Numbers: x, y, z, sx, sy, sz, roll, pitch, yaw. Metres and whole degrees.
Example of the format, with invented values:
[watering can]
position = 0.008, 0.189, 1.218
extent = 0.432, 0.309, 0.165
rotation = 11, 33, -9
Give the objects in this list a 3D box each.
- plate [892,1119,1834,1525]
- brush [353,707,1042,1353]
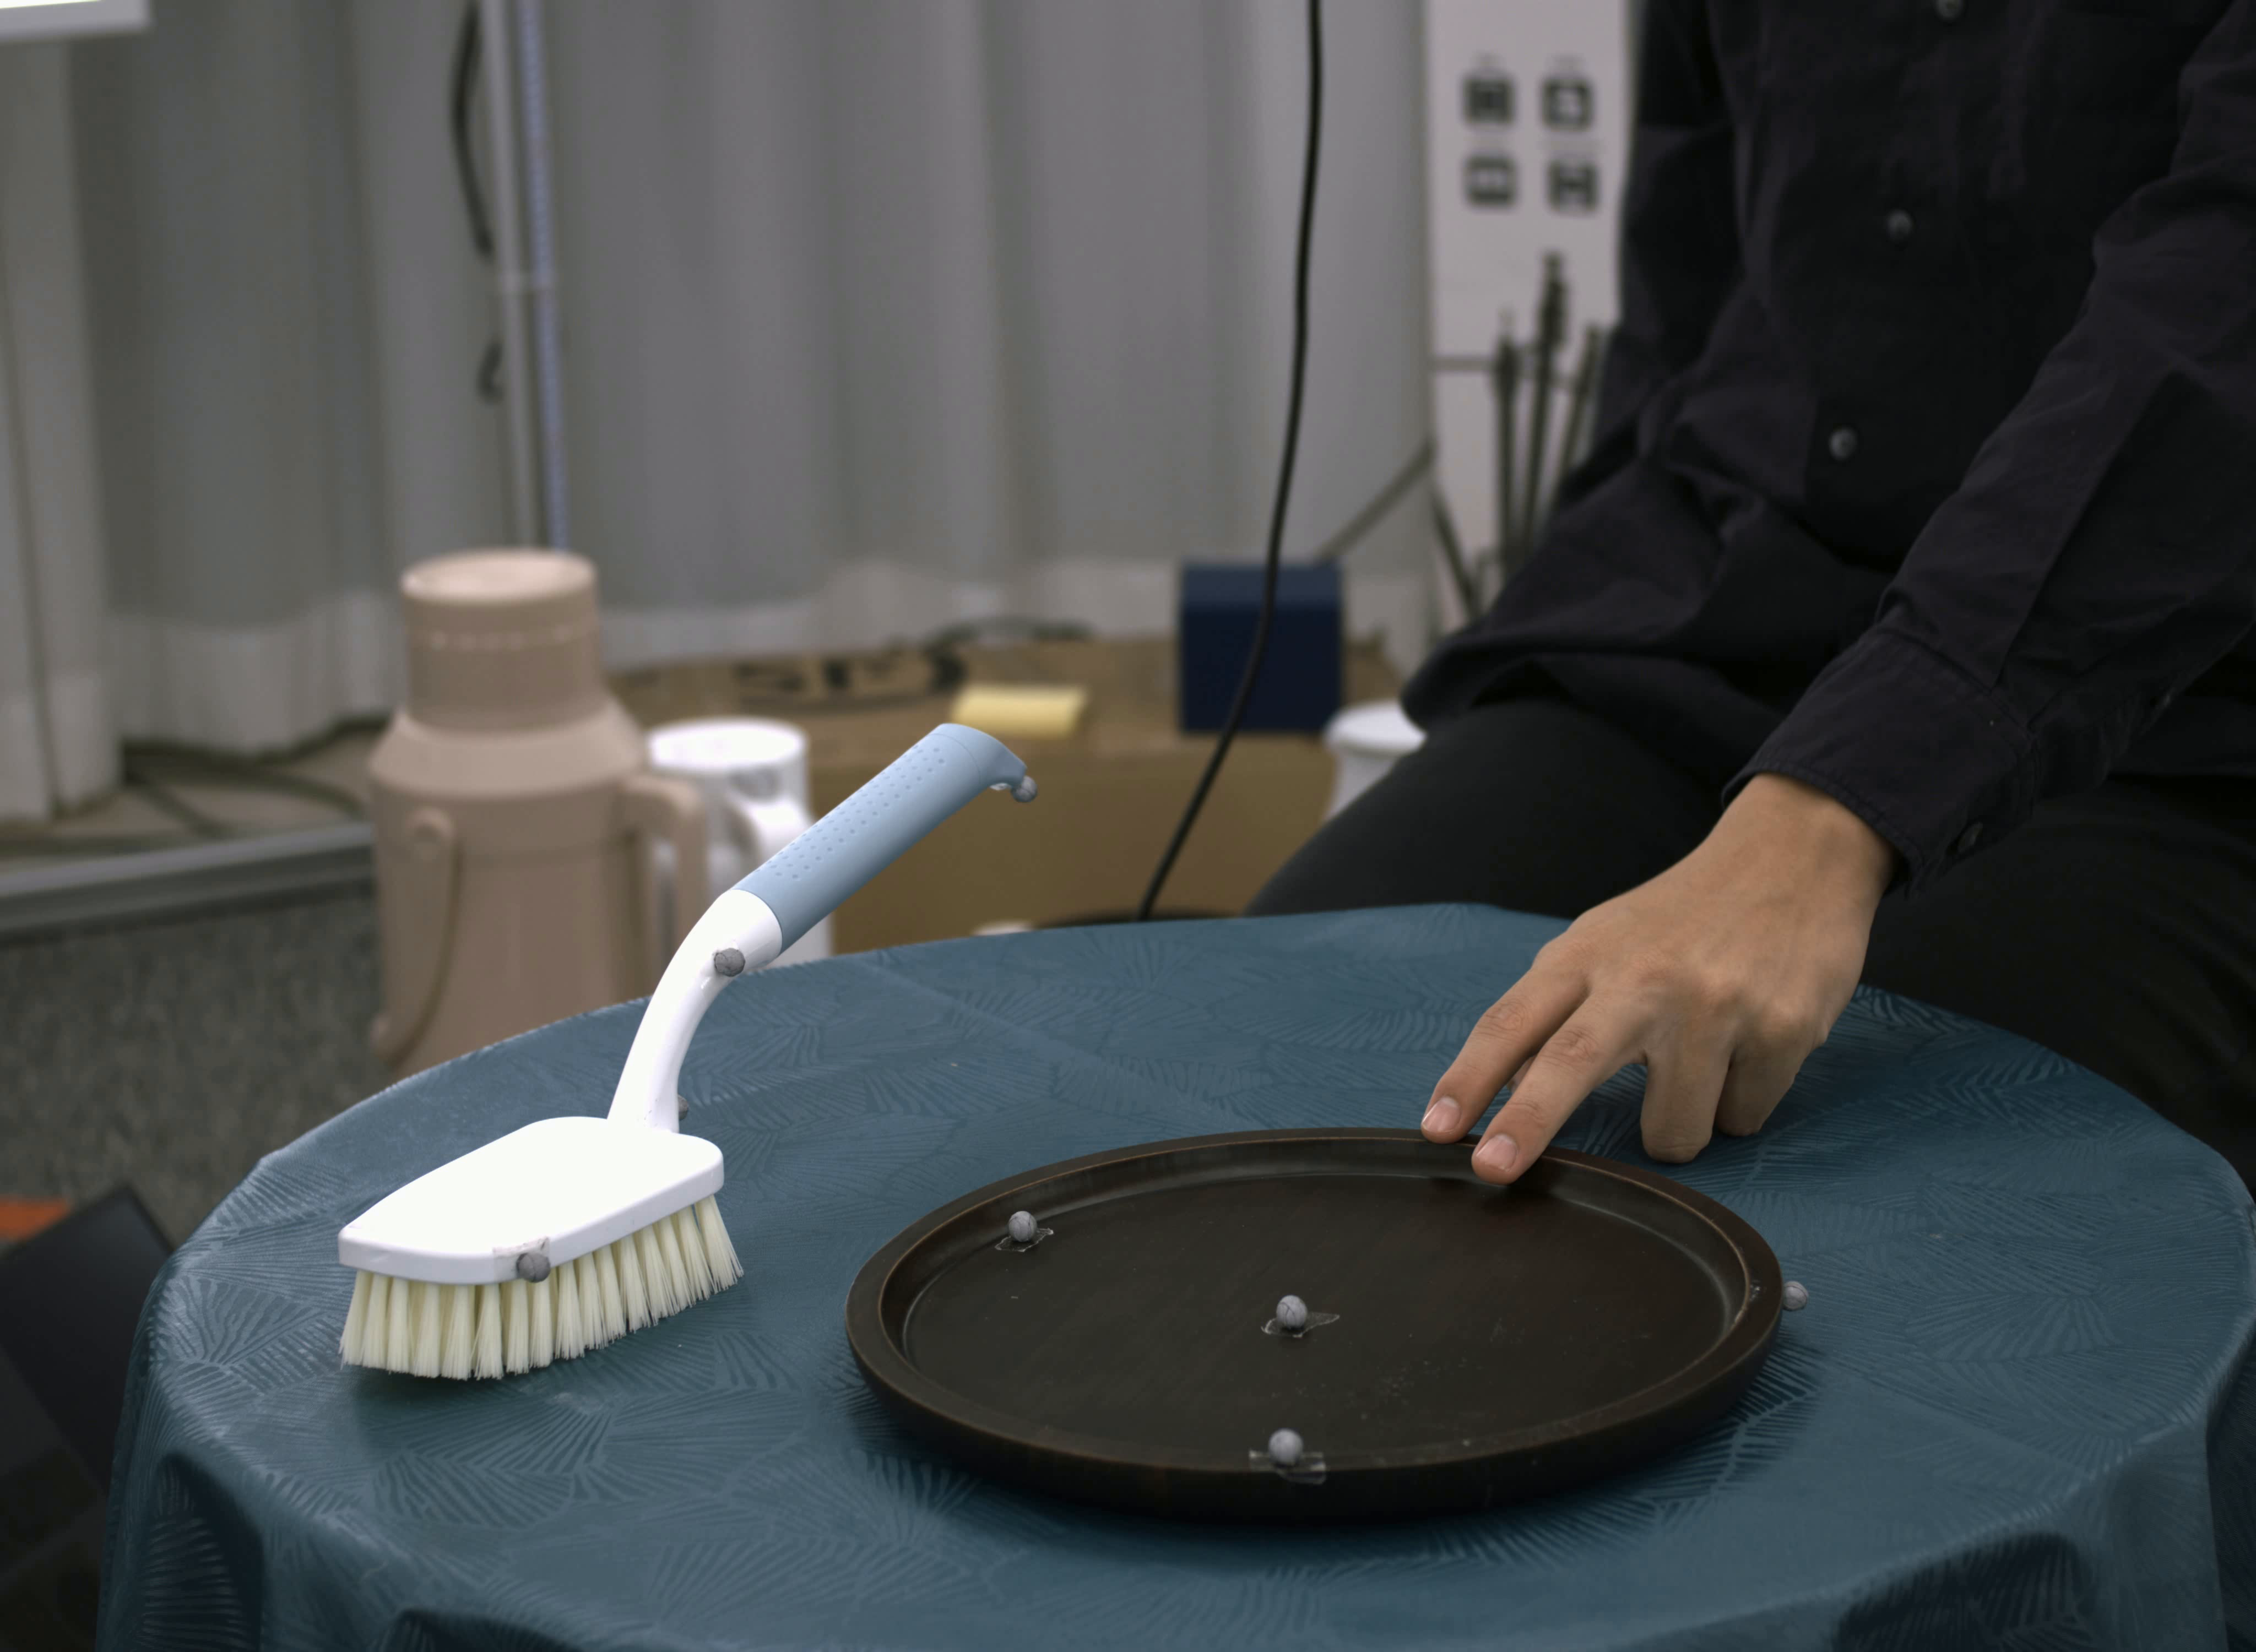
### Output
[plate]
position = 0.064, 0.131, 1.427
extent = 0.253, 0.029, 0.256
rotation = -5, 16, 0
[brush]
position = -0.111, 0.073, 1.556
extent = 0.084, 0.085, 0.321
rotation = 40, 43, 10
